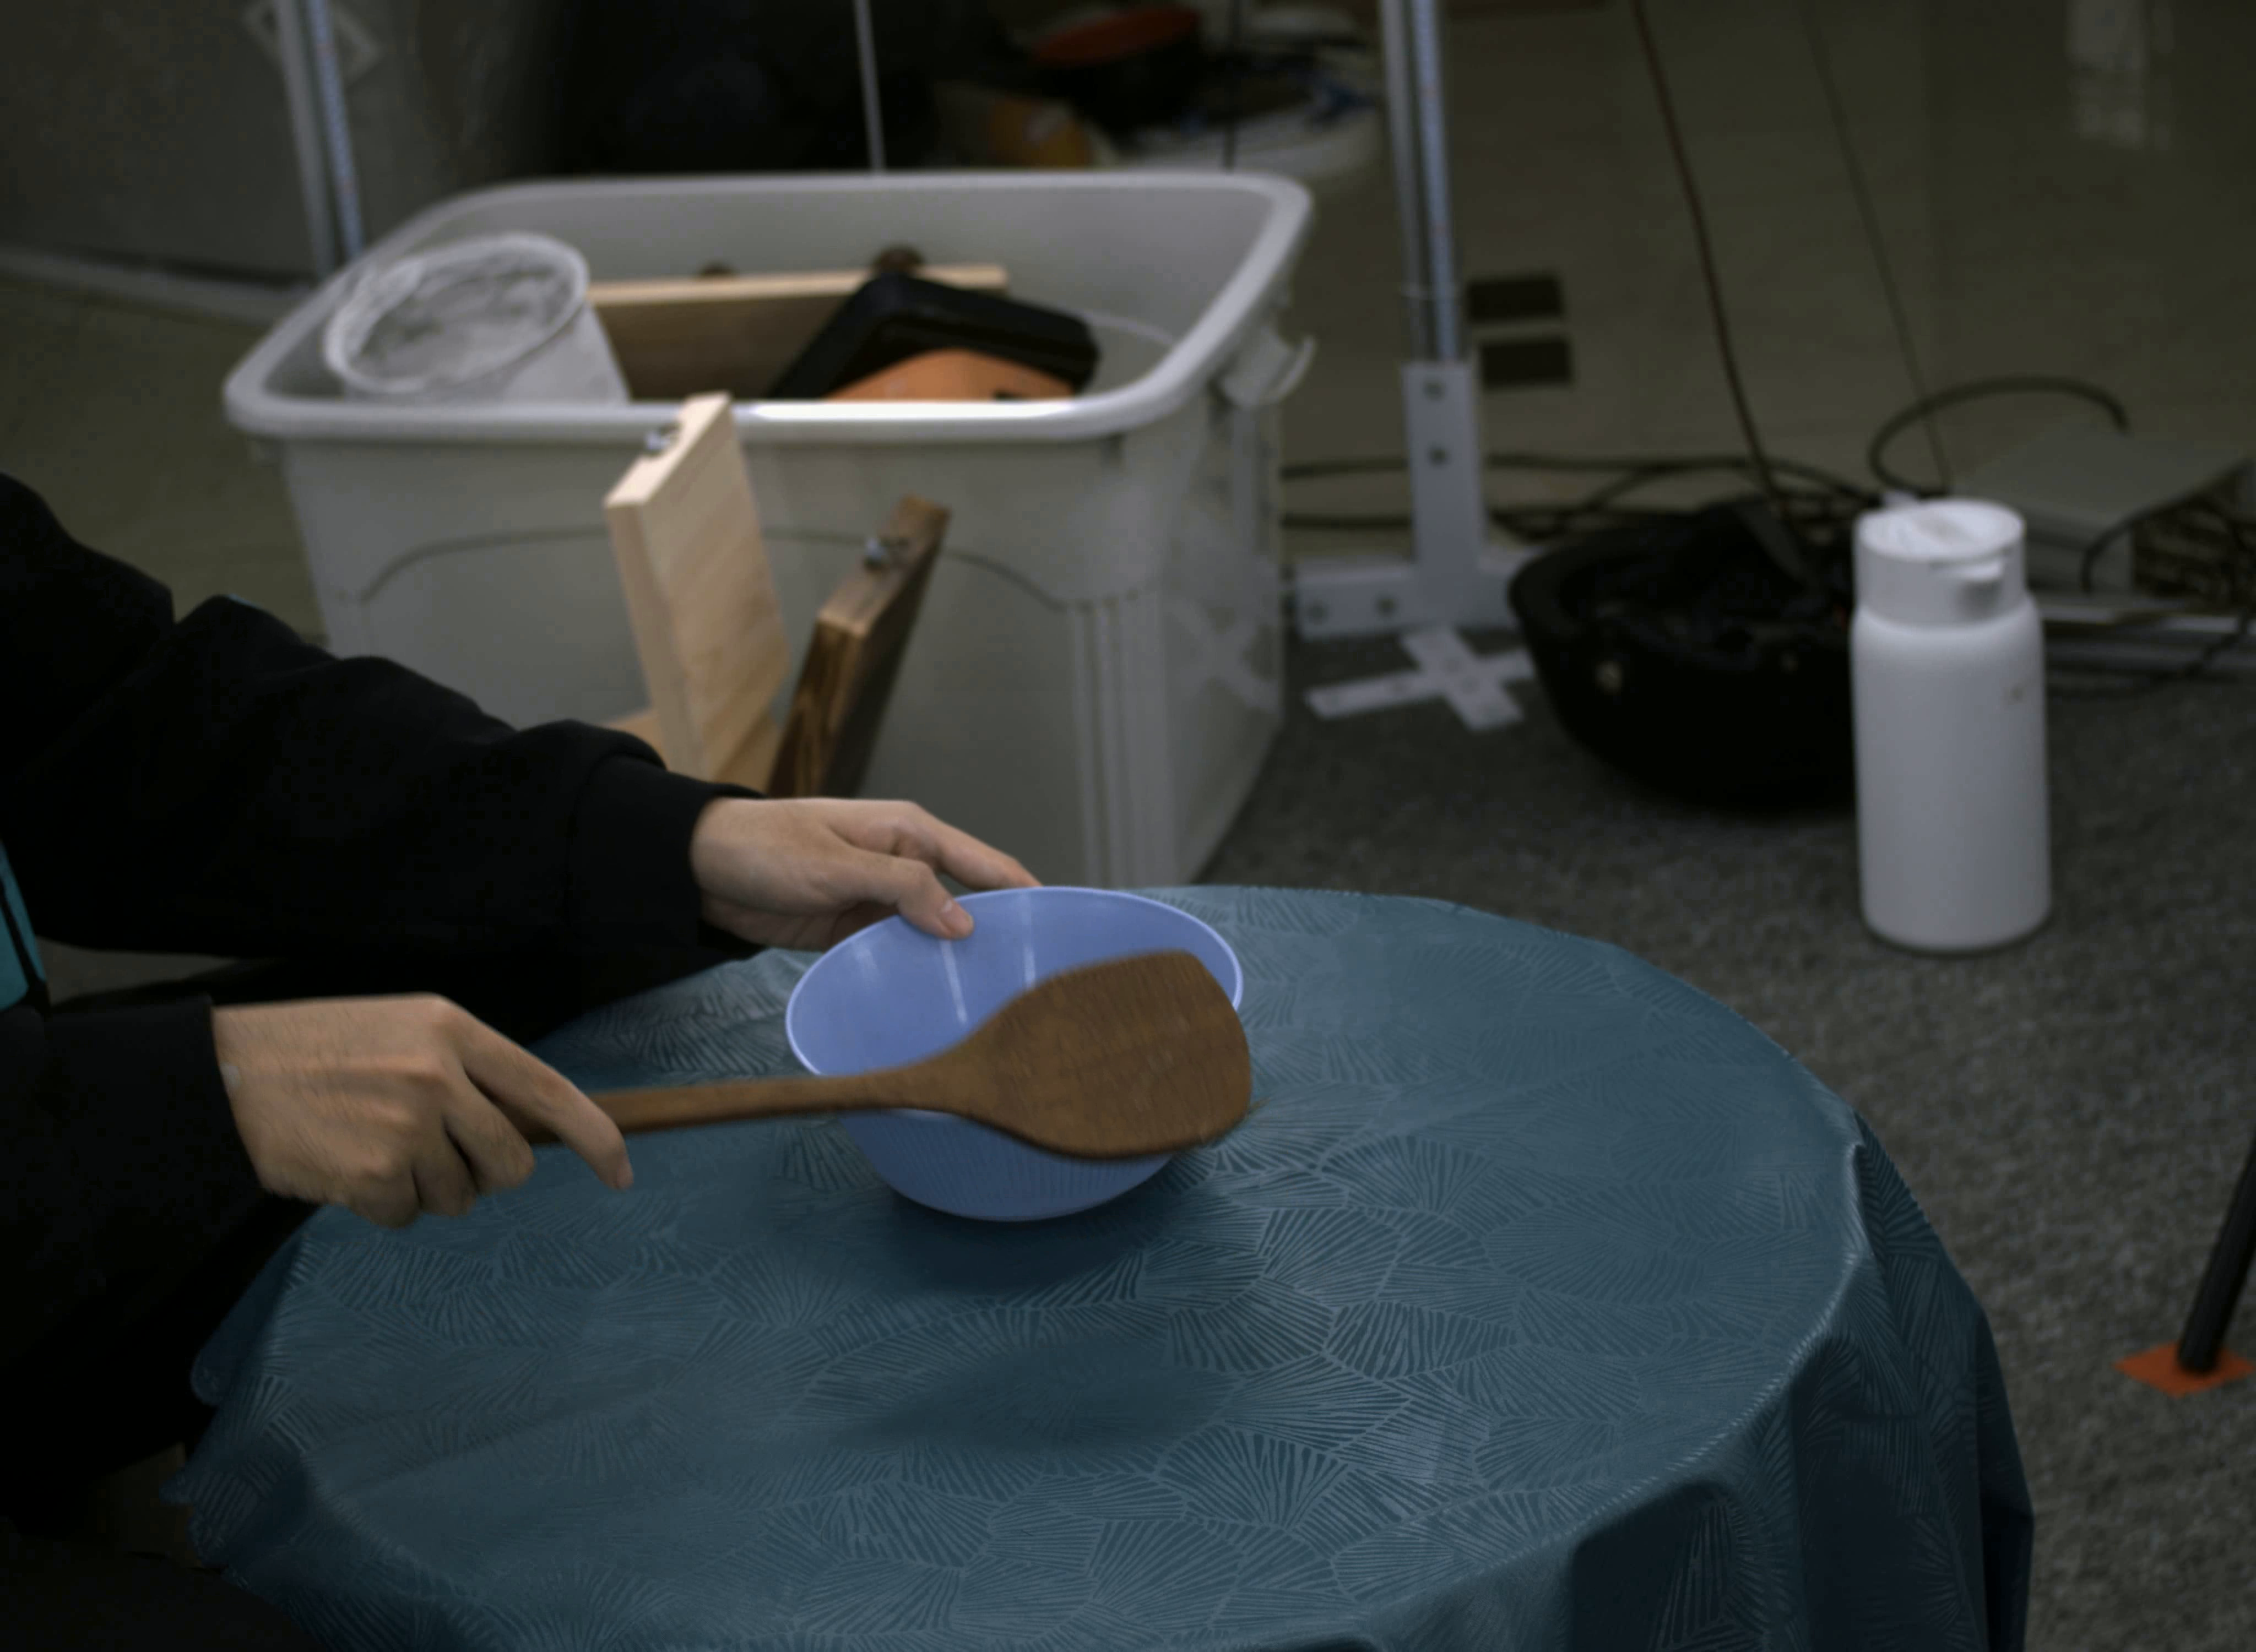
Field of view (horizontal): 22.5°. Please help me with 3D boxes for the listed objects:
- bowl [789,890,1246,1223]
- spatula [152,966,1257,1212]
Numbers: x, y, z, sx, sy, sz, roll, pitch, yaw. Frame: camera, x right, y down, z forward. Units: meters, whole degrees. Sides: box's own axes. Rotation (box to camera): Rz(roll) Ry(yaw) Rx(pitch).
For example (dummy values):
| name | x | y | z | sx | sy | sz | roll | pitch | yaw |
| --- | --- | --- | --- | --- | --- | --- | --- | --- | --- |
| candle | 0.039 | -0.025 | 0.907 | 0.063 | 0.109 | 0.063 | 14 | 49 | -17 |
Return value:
| name | x | y | z | sx | sy | sz | roll | pitch | yaw |
| --- | --- | --- | --- | --- | --- | --- | --- | --- | --- |
| bowl | -0.039 | 0.095 | 2.168 | 0.176 | 0.071 | 0.173 | -6 | 28 | 3 |
| spatula | -0.146 | 0.102 | 1.974 | 0.385 | 0.016 | 0.094 | -6 | 46 | -10 |
